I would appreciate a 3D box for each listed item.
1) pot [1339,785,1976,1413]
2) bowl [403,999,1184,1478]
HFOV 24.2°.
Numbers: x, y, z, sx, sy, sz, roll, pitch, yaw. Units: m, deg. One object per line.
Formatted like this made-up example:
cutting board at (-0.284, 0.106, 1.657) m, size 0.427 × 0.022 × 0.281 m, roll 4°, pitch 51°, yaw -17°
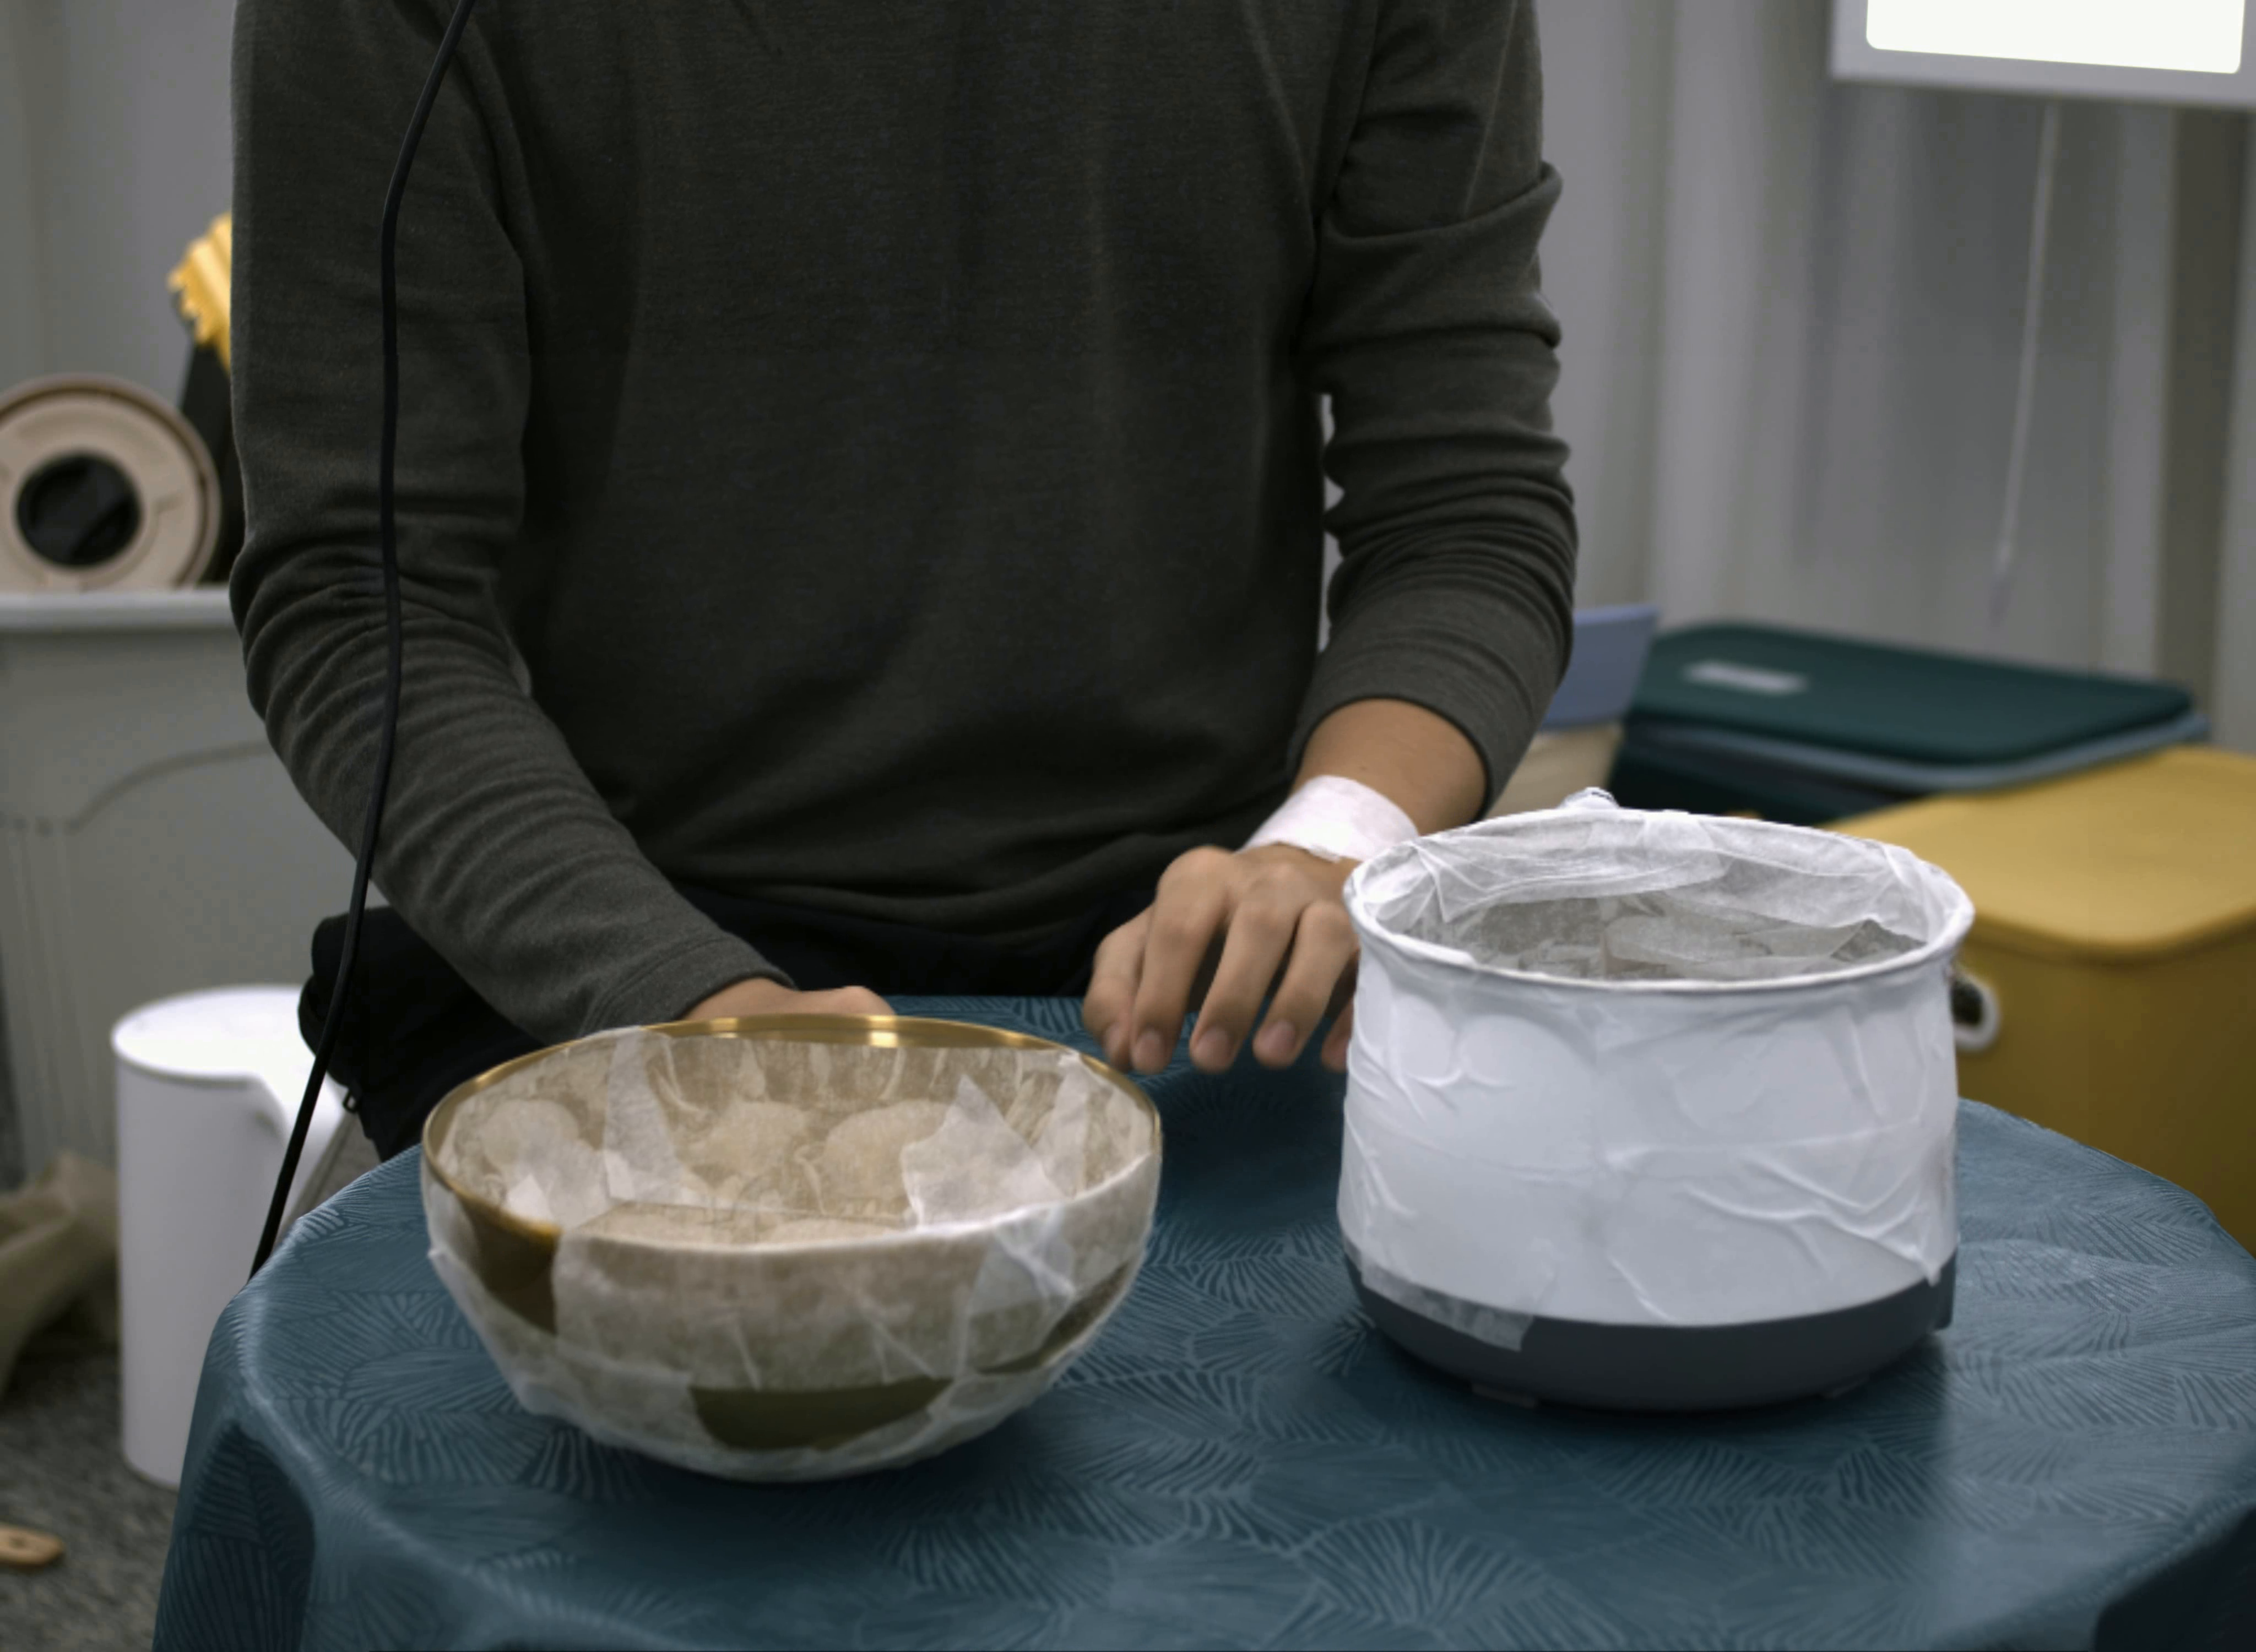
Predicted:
pot at (0.145, 0.073, 1.516) m, size 0.178 × 0.138 × 0.232 m, roll -1°, pitch 16°, yaw -7°
bowl at (-0.089, 0.119, 1.420) m, size 0.214 × 0.095 × 0.213 m, roll -1°, pitch 15°, yaw 1°
